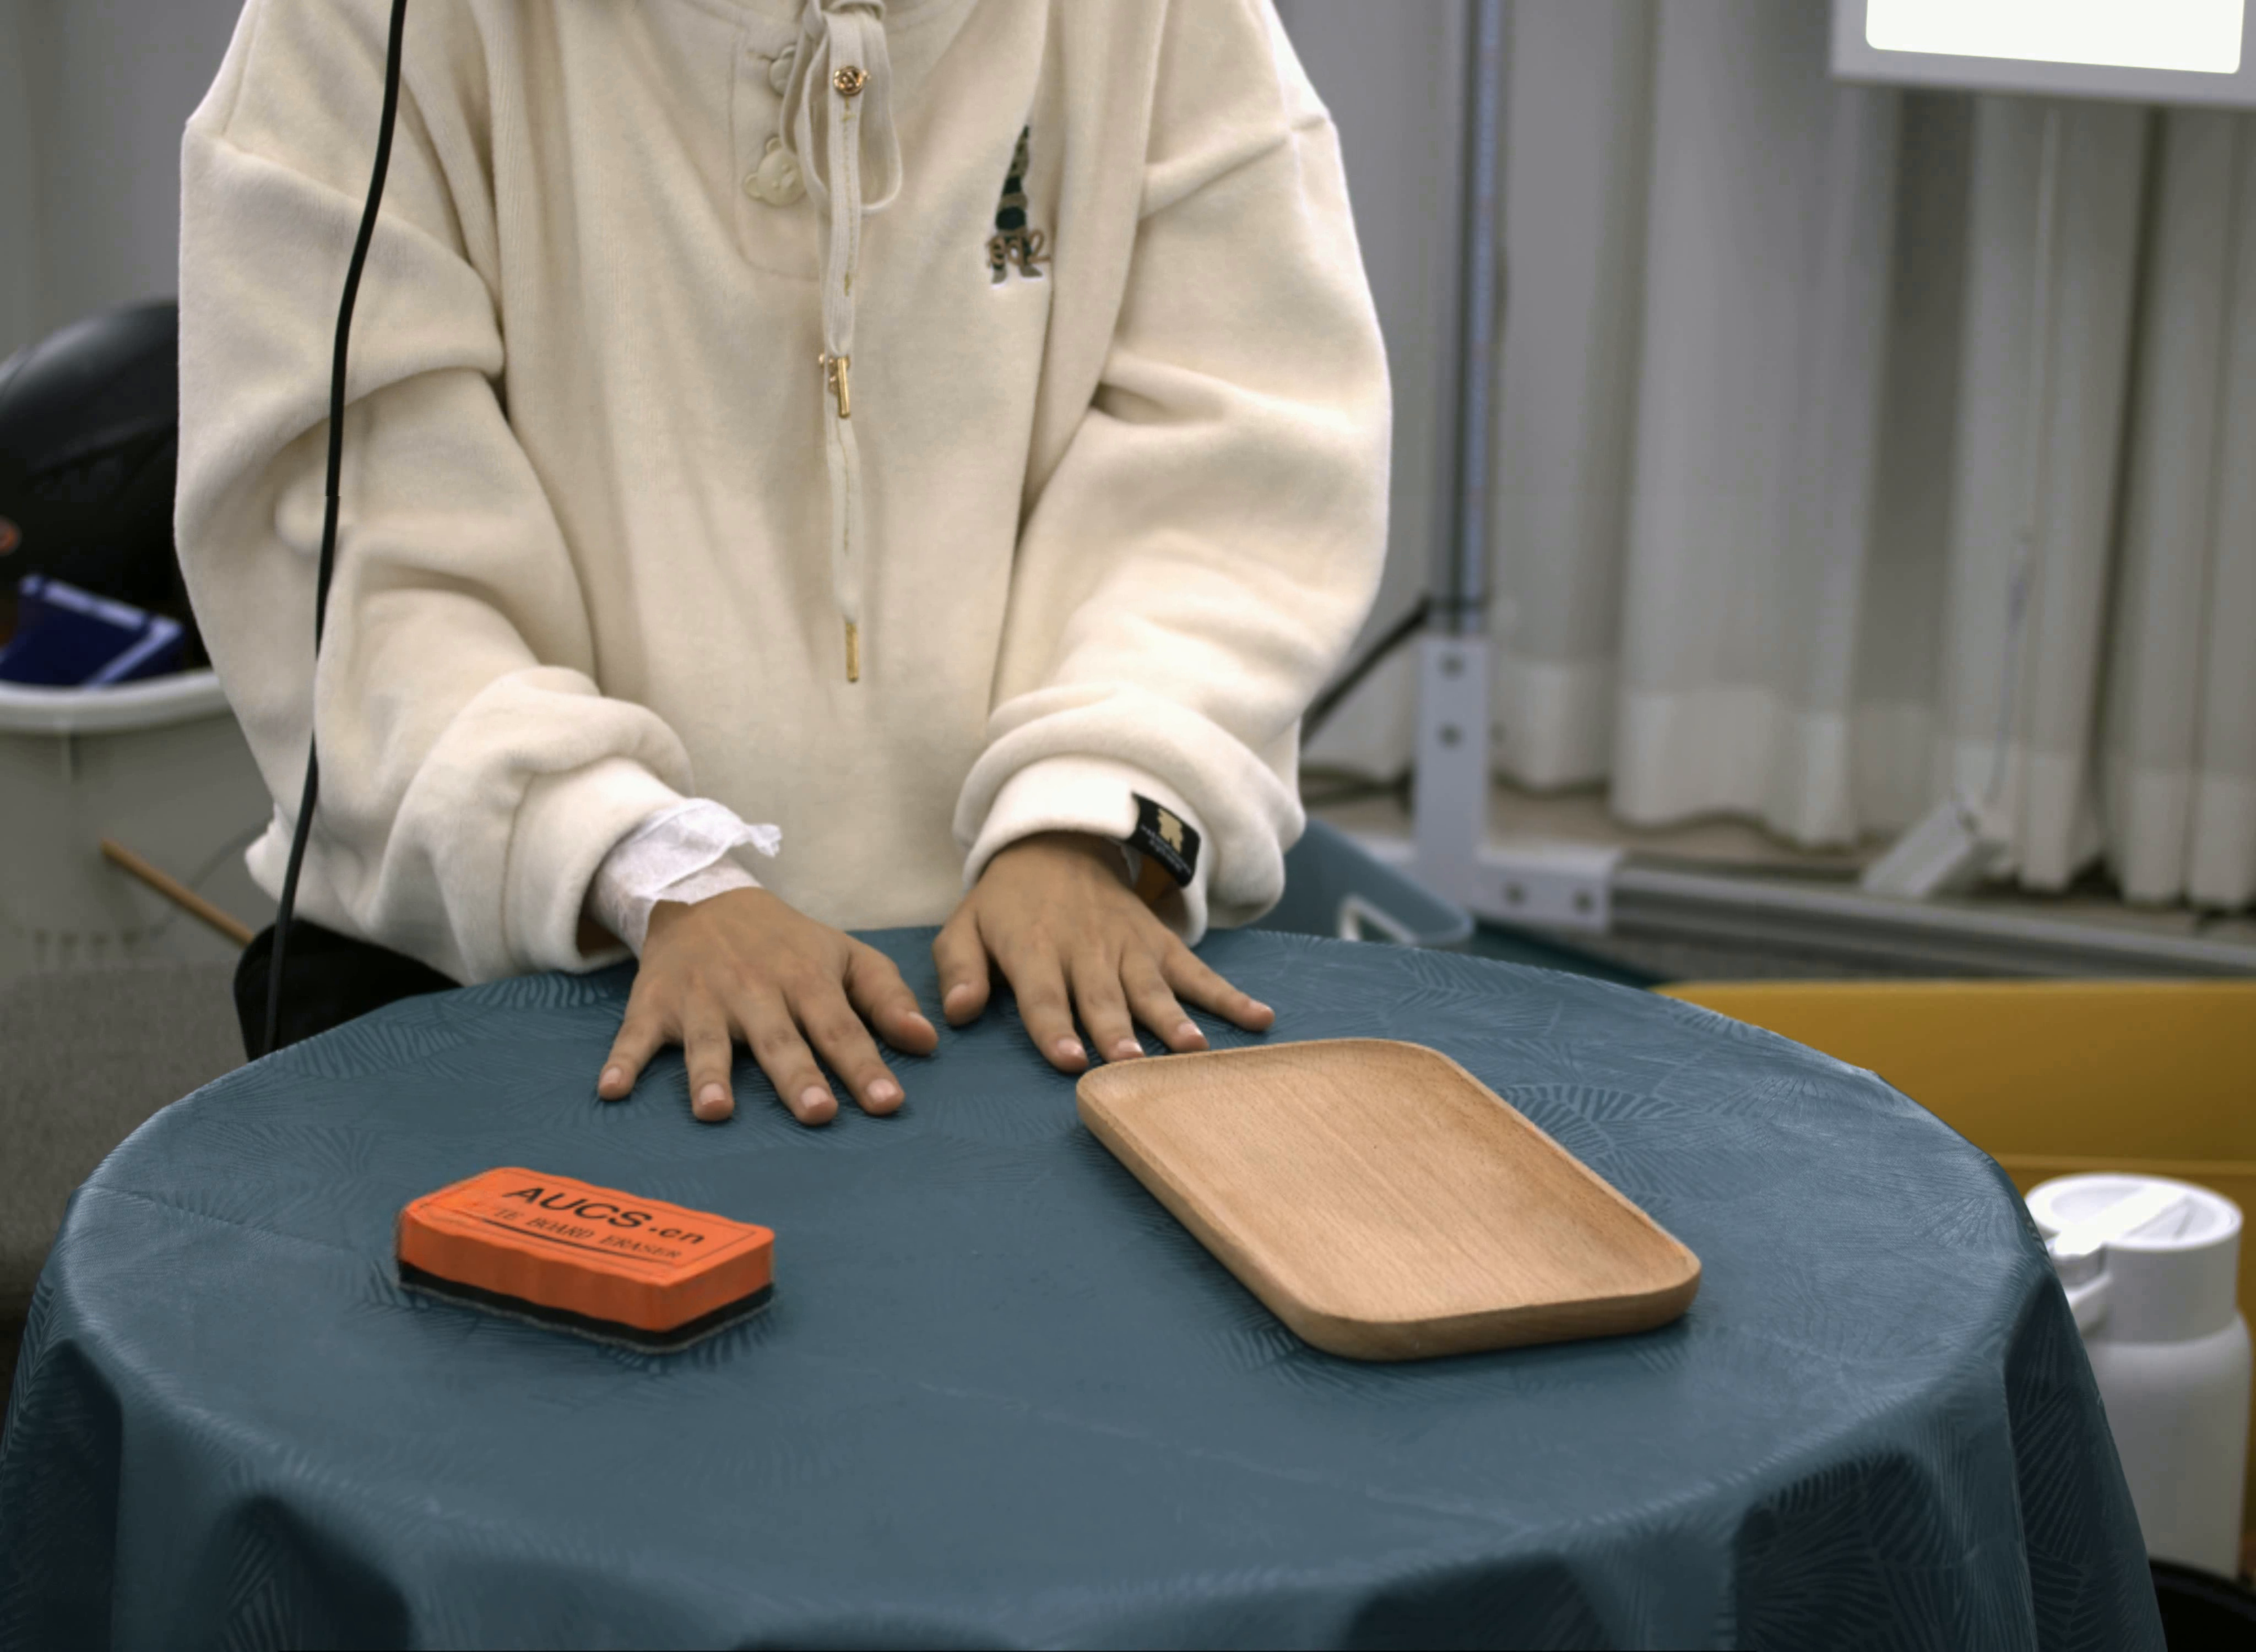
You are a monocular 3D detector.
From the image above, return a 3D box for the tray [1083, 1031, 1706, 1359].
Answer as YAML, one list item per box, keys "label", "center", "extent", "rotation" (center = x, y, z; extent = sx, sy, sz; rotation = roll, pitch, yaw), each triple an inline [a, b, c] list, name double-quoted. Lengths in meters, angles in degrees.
- label: "tray"
  center: [0.076, 0.109, 1.601]
  extent: [0.131, 0.023, 0.248]
  rotation: [-2, 15, -17]

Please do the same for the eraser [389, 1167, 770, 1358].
- label: "eraser"
  center: [-0.159, 0.125, 1.525]
  extent: [0.106, 0.023, 0.059]
  rotation: [11, 20, 33]
